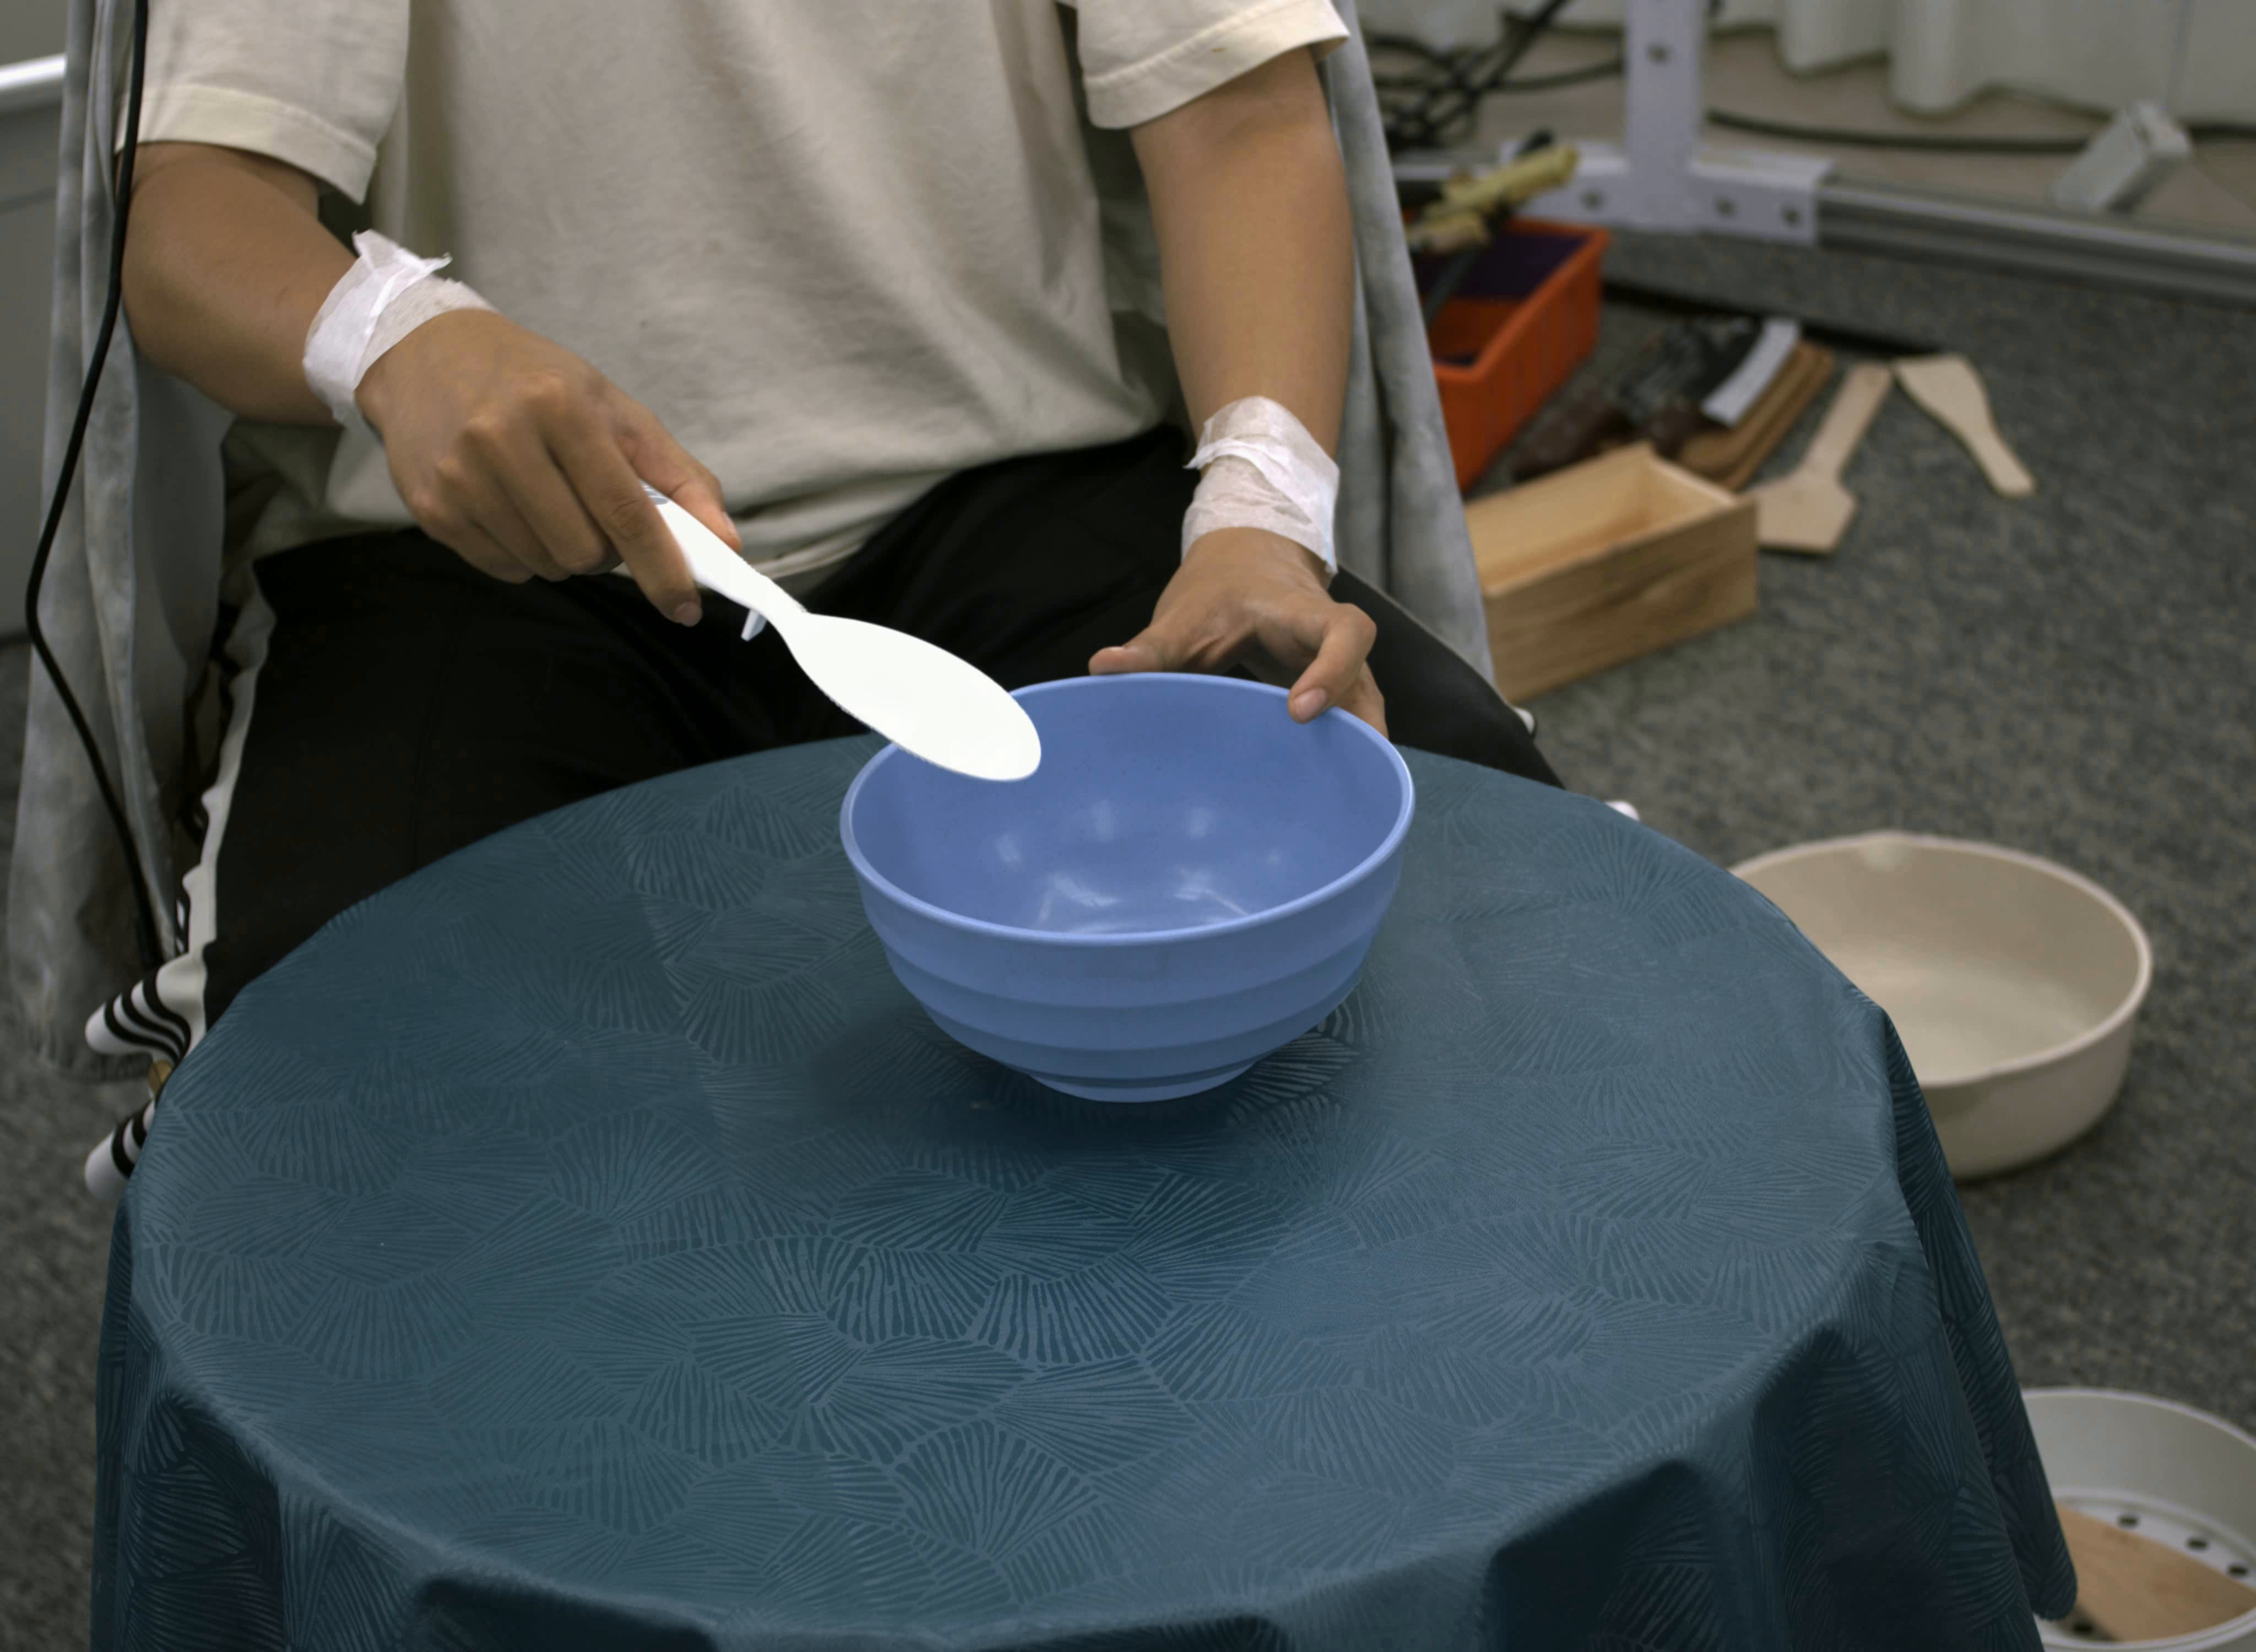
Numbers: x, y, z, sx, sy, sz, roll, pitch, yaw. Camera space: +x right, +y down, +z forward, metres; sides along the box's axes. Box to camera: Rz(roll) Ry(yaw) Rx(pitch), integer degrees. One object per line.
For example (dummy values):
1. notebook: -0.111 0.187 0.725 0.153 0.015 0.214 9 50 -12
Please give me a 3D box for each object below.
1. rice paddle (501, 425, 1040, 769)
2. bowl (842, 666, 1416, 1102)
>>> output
1. rice paddle: -0.118 -0.074 1.897 0.205 0.029 0.070 30 31 11
2. bowl: 0.003 0.031 1.932 0.195 0.094 0.199 -2 28 2
